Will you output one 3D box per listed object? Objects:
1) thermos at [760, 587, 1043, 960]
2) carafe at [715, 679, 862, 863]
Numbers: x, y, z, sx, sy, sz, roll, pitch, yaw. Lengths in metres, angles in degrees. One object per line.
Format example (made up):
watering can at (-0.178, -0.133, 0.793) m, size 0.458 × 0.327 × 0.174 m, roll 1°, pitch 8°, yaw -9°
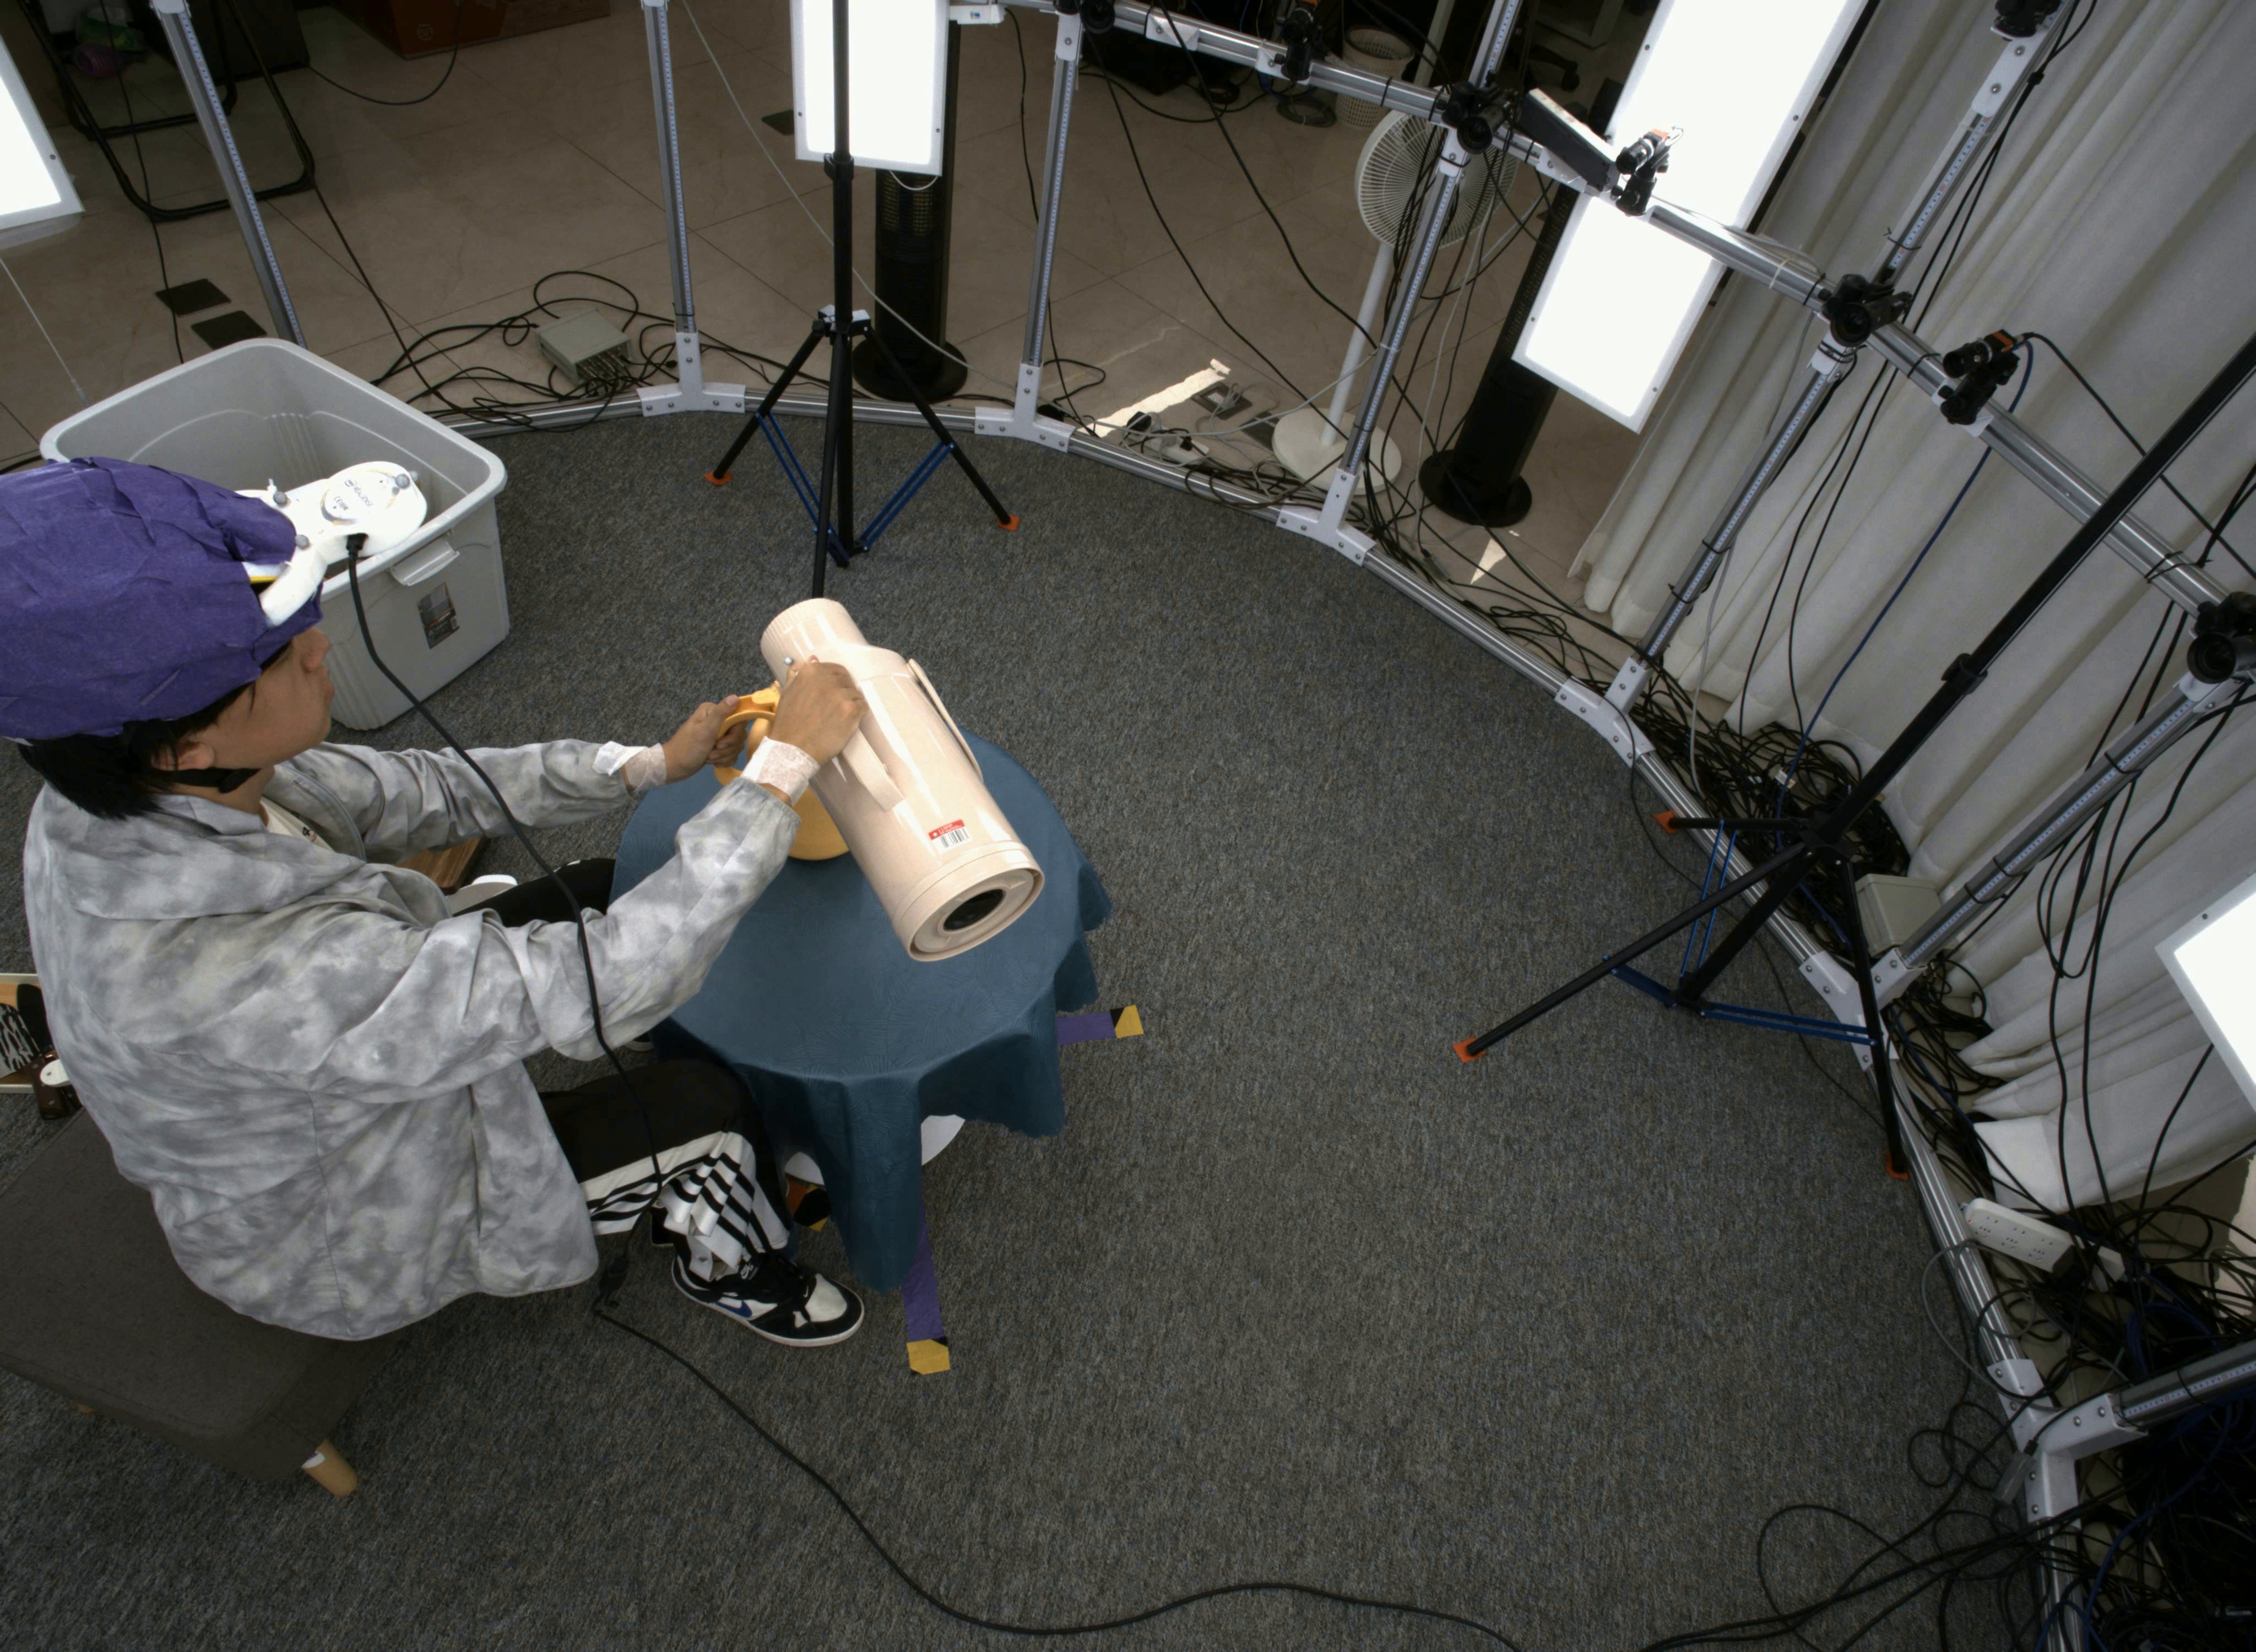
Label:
thermos at (-0.258, -0.071, 1.350) m, size 0.174 × 0.212 × 0.399 m, roll -34°, pitch 72°, yaw 1°
carafe at (-0.411, -0.085, 1.624) m, size 0.203 × 0.266 × 0.159 m, roll -6°, pitch 52°, yaw -17°
